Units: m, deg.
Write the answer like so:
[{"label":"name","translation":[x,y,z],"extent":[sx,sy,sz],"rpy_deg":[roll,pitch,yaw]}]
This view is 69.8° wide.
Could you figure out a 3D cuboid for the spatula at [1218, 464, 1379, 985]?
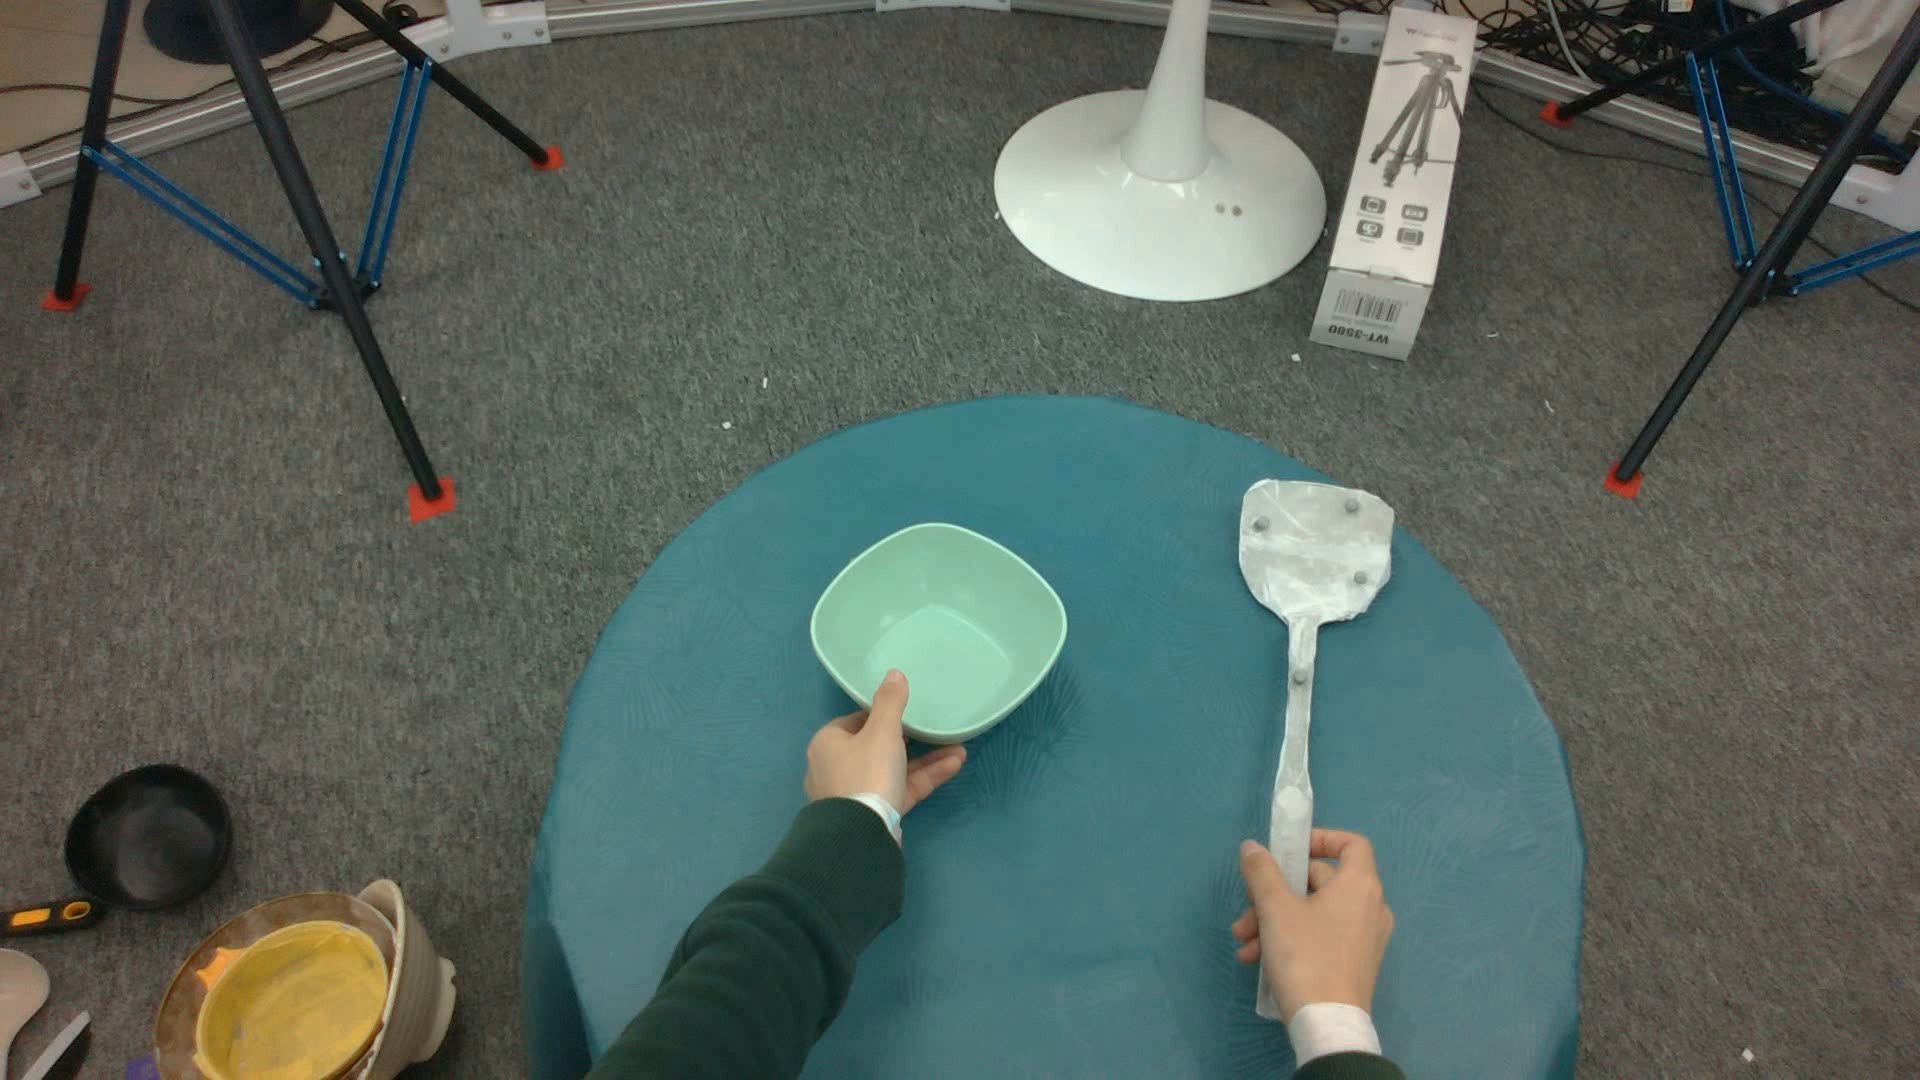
[{"label":"spatula","translation":[0.189,0.090,0.812],"extent":[0.098,0.044,0.367],"rpy_deg":[12,45,8]}]

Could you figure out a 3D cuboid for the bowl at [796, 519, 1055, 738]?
[{"label":"bowl","translation":[-0.021,0.062,0.826],"extent":[0.151,0.058,0.152],"rpy_deg":[2,50,-2]}]
